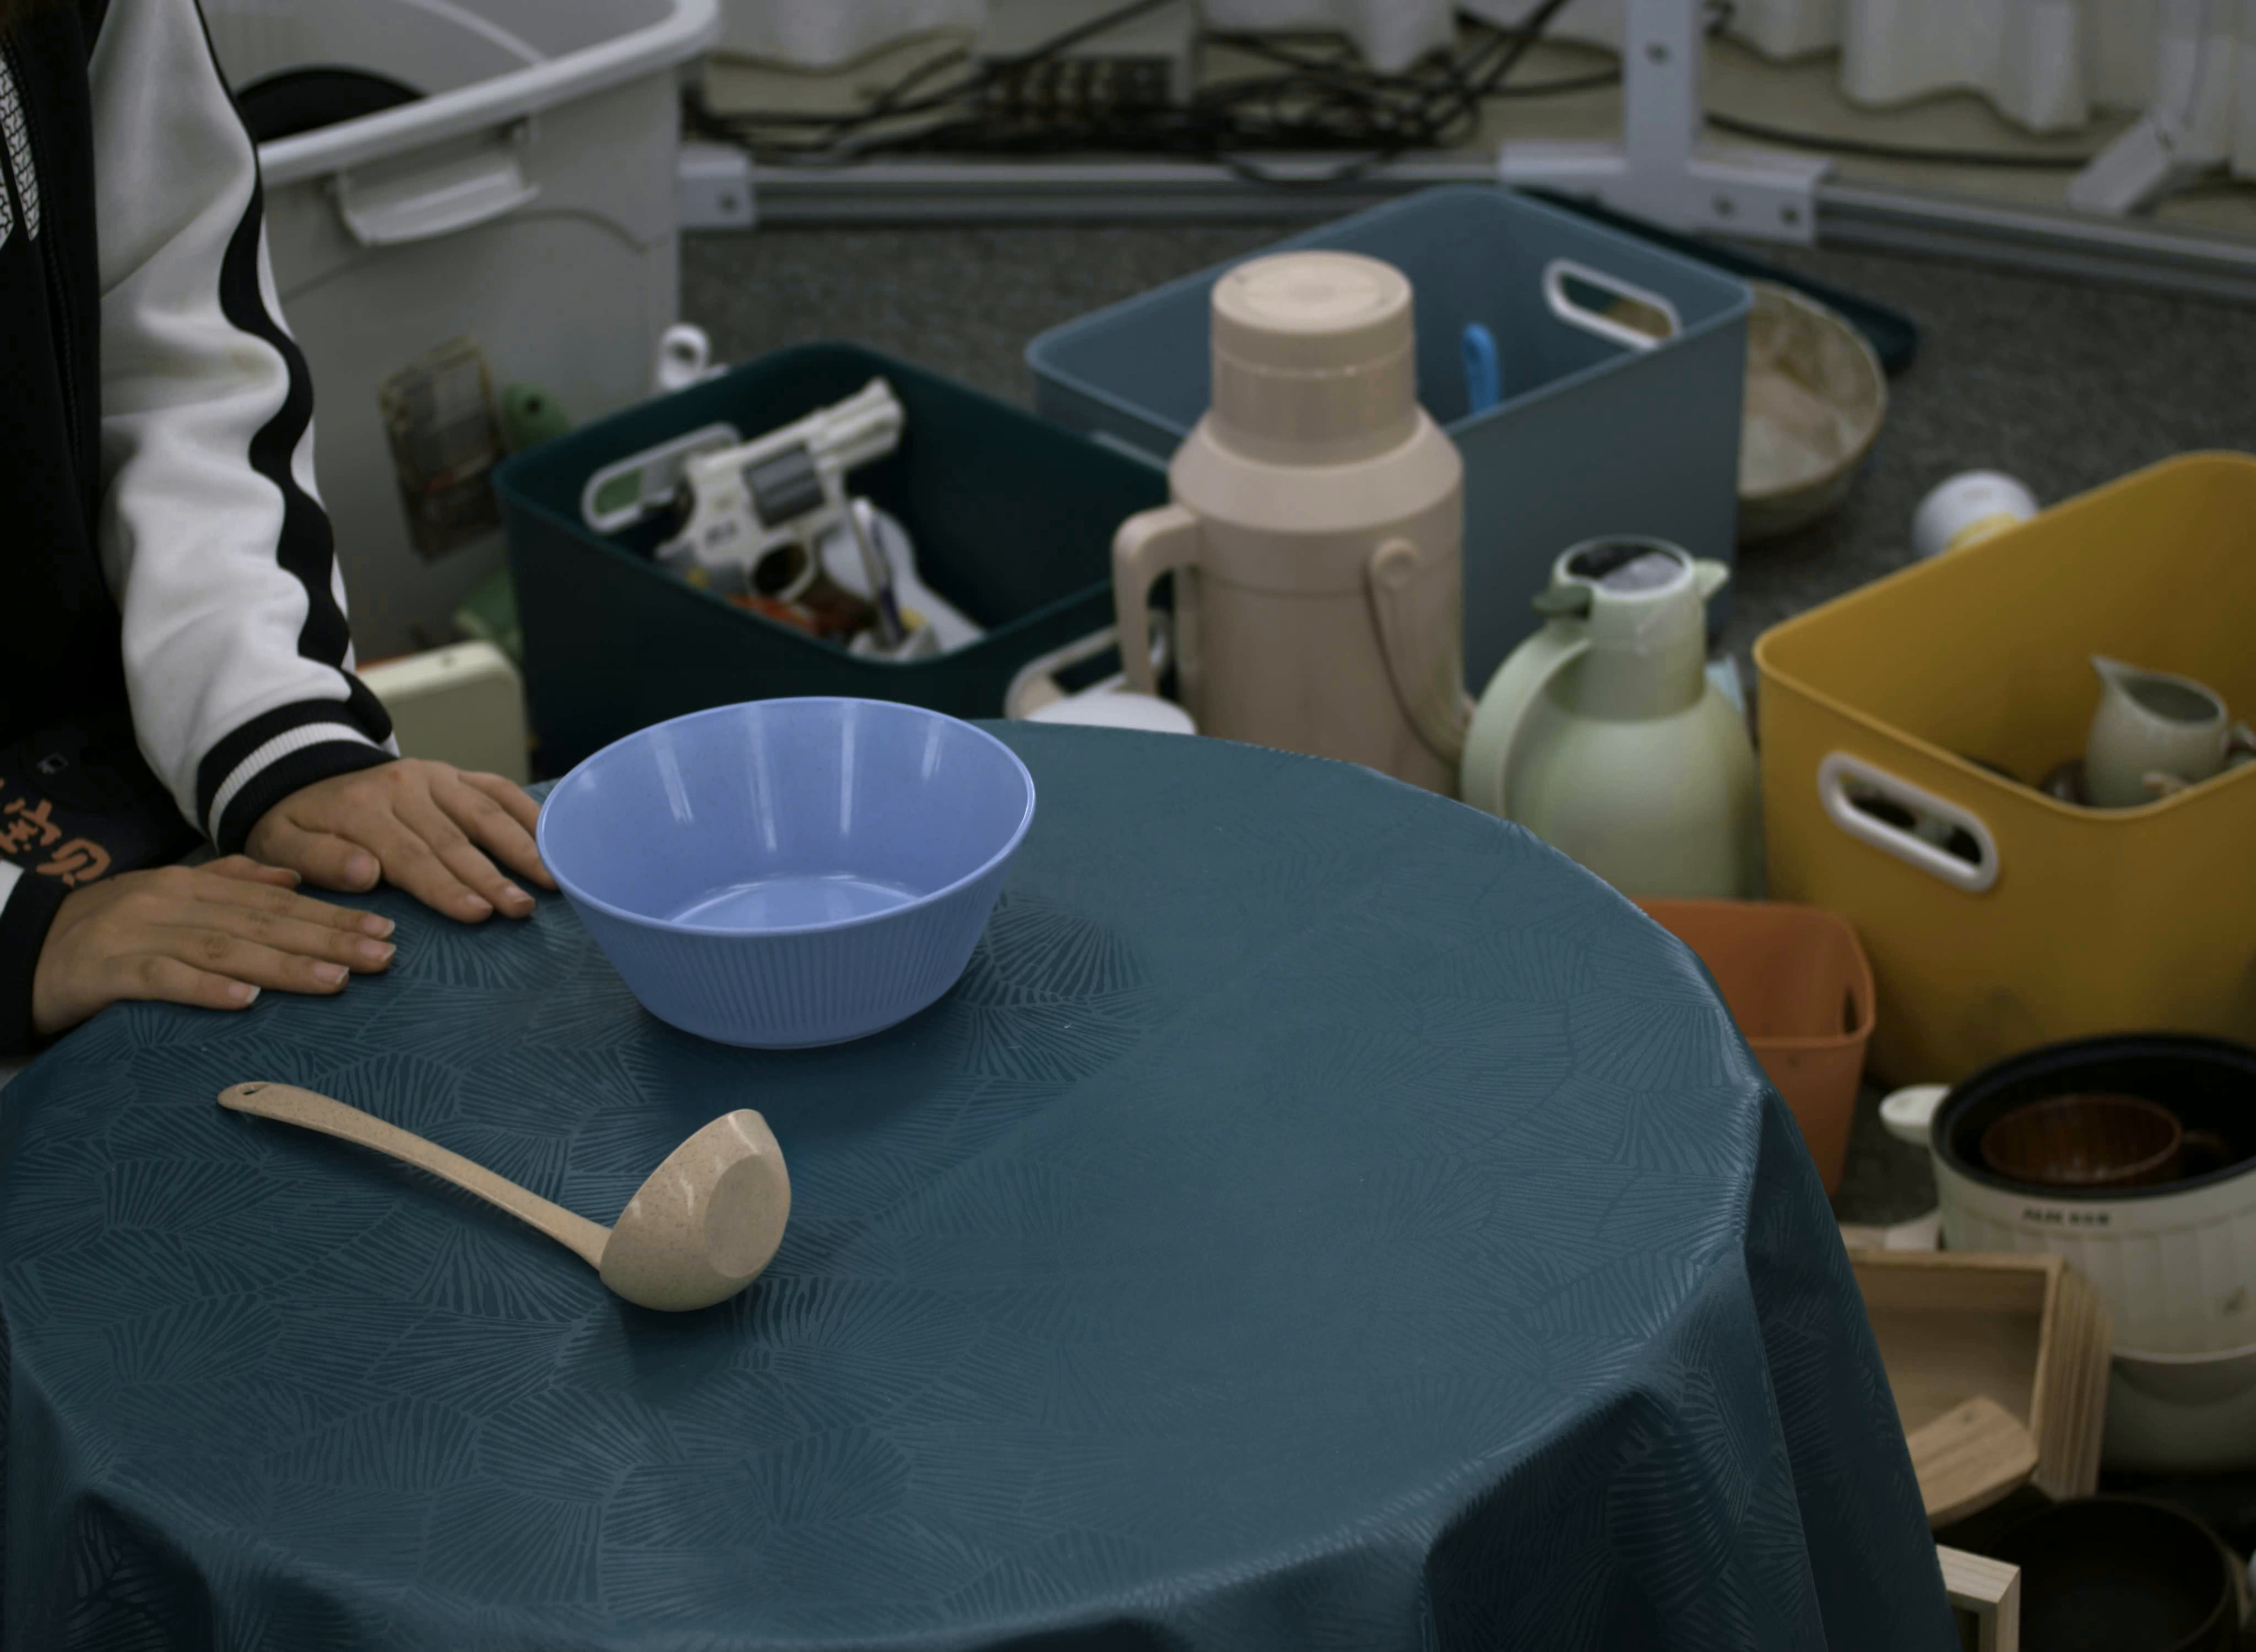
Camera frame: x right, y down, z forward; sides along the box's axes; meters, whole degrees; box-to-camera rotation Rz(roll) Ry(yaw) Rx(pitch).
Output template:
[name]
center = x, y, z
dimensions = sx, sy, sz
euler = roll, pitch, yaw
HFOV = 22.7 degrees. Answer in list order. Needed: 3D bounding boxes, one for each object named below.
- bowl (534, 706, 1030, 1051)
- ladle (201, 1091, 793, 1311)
[bowl]
center = -0.120, 0.024, 1.987
dimensions = 0.175, 0.069, 0.179
euler = -2, 26, 1
[ladle]
center = -0.218, 0.096, 1.853
dimensions = 0.253, 0.072, 0.073
euler = 17, 32, 34
